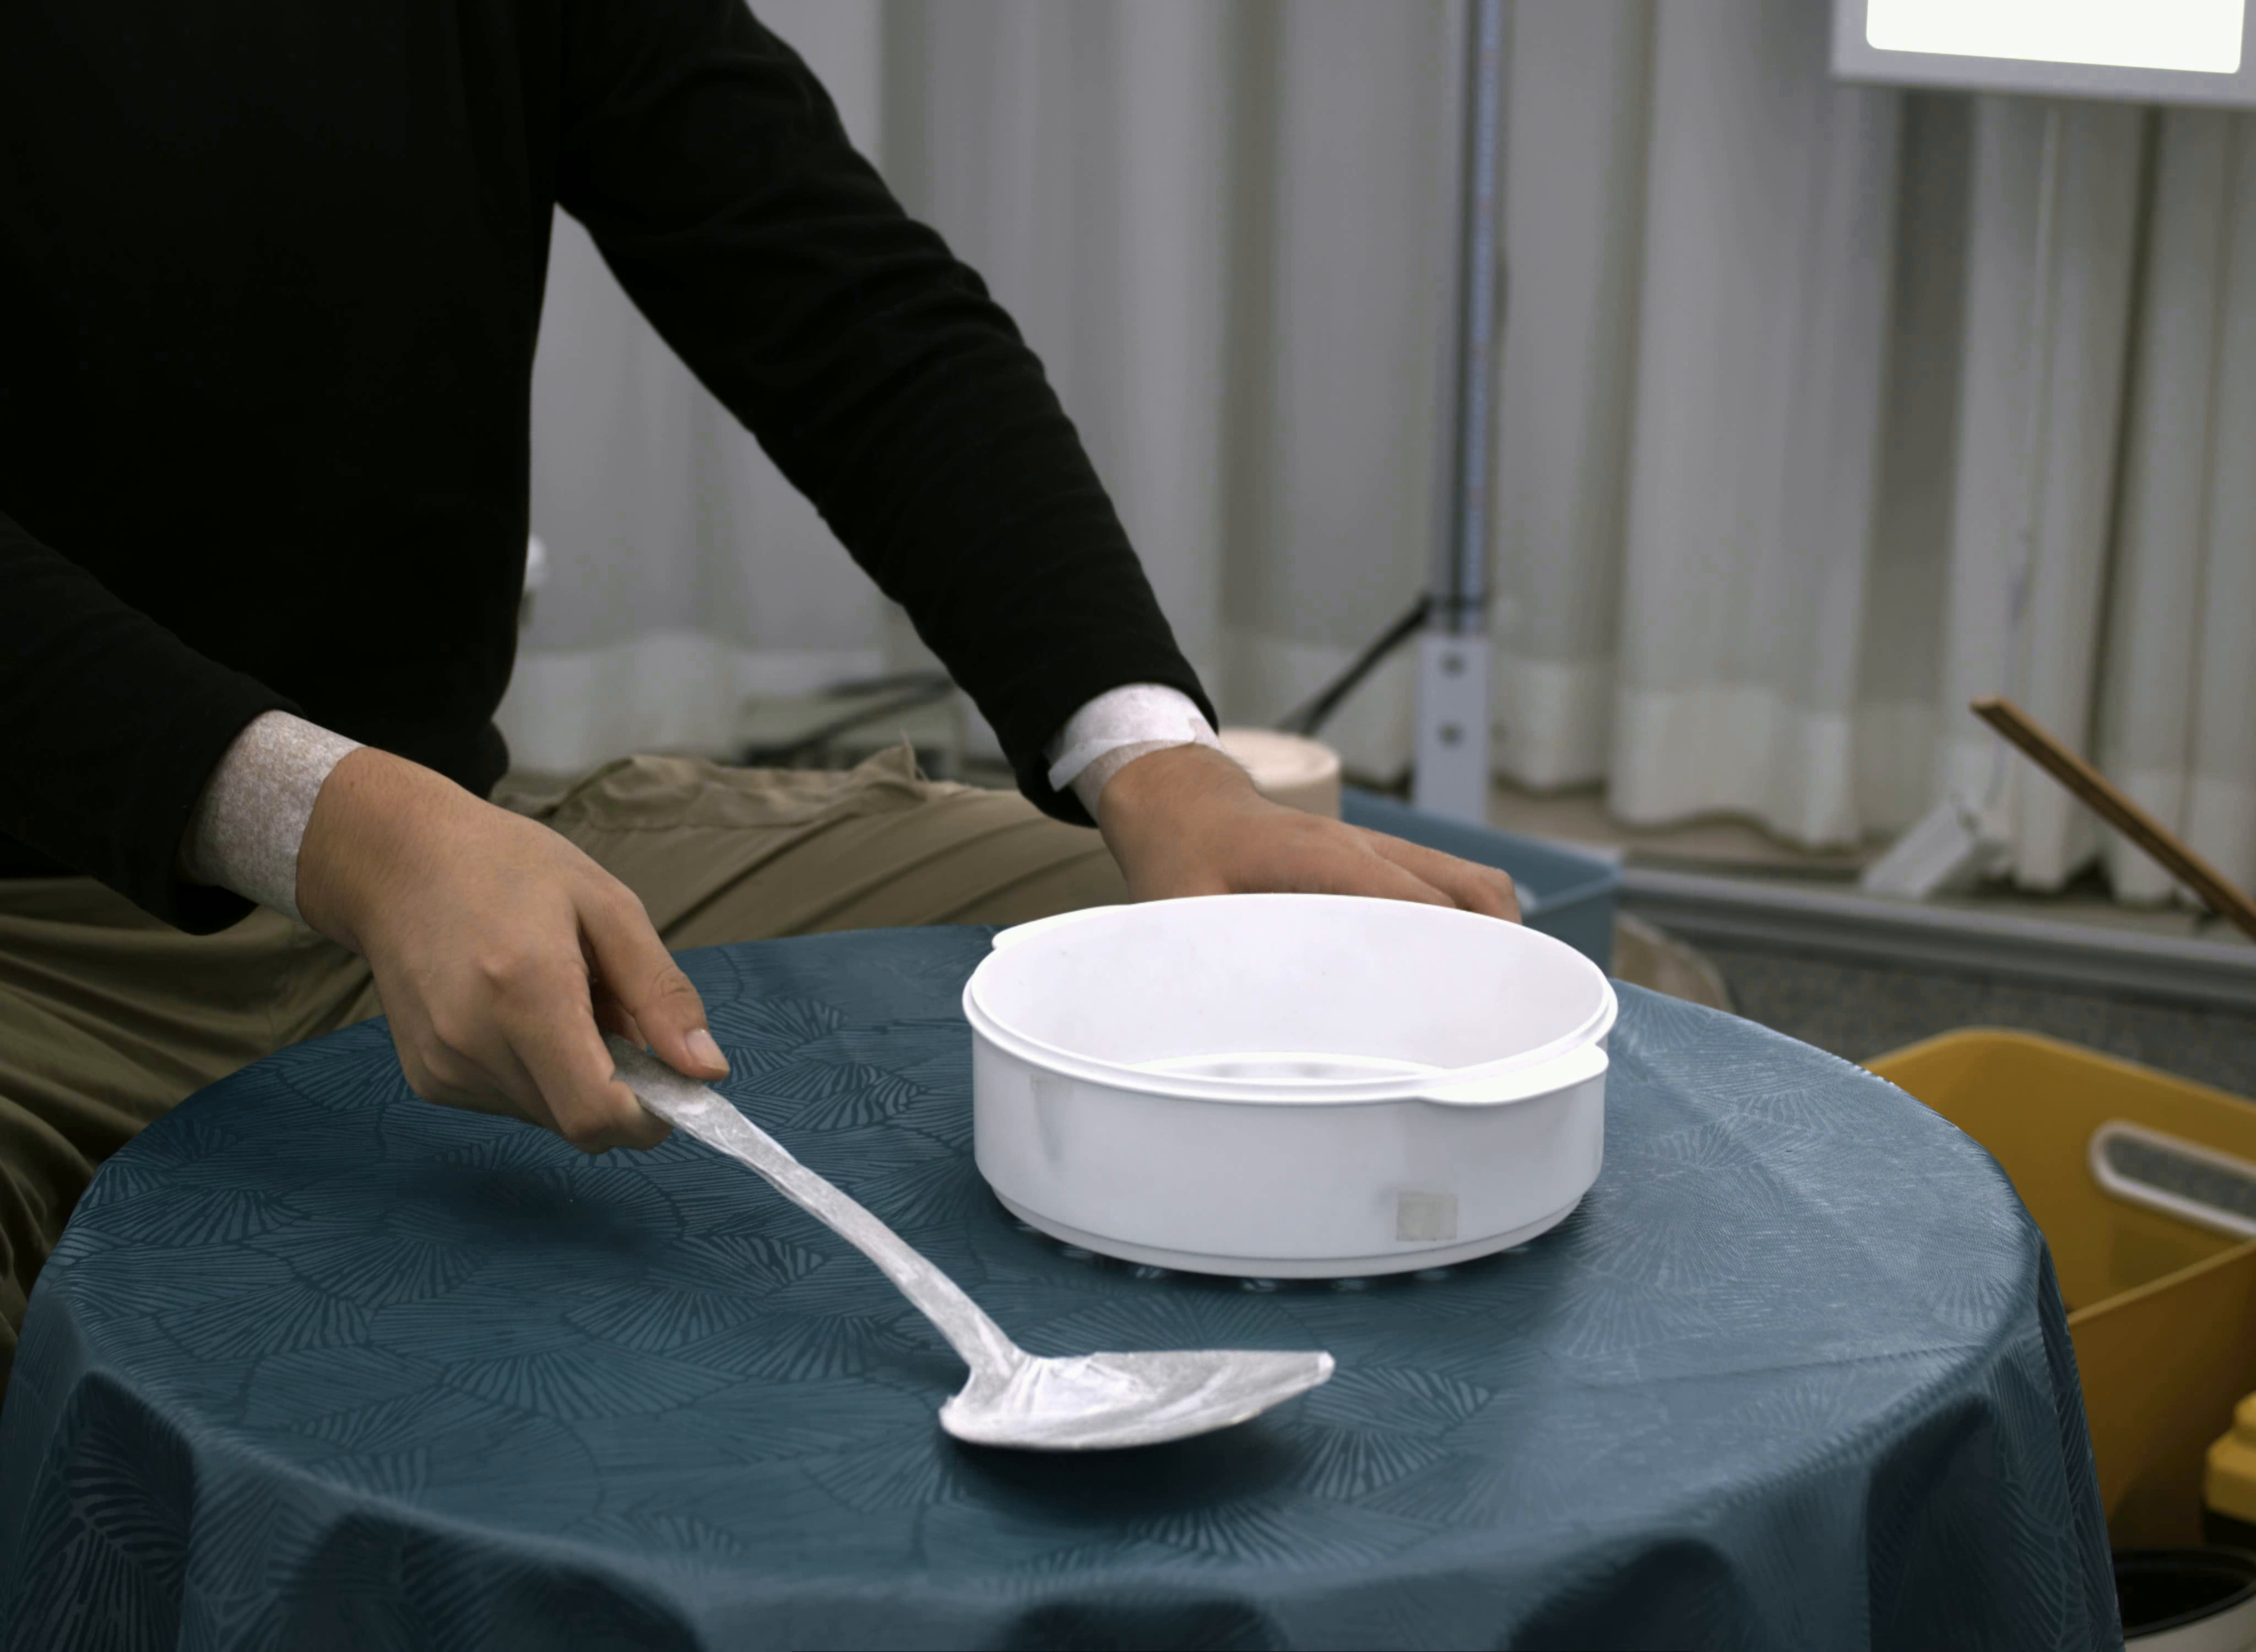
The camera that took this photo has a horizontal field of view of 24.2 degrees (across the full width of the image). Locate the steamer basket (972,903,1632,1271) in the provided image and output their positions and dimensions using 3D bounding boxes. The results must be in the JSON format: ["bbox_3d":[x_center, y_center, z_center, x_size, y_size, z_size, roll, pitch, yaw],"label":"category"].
[{"bbox_3d":[0.053,0.079,1.610,0.203,0.070,0.227,-11,19,-40],"label":"steamer basket"}]

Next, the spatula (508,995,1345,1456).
[{"bbox_3d":[-0.082,0.105,1.507,0.099,0.045,0.359,-17,33,-36],"label":"spatula"}]
